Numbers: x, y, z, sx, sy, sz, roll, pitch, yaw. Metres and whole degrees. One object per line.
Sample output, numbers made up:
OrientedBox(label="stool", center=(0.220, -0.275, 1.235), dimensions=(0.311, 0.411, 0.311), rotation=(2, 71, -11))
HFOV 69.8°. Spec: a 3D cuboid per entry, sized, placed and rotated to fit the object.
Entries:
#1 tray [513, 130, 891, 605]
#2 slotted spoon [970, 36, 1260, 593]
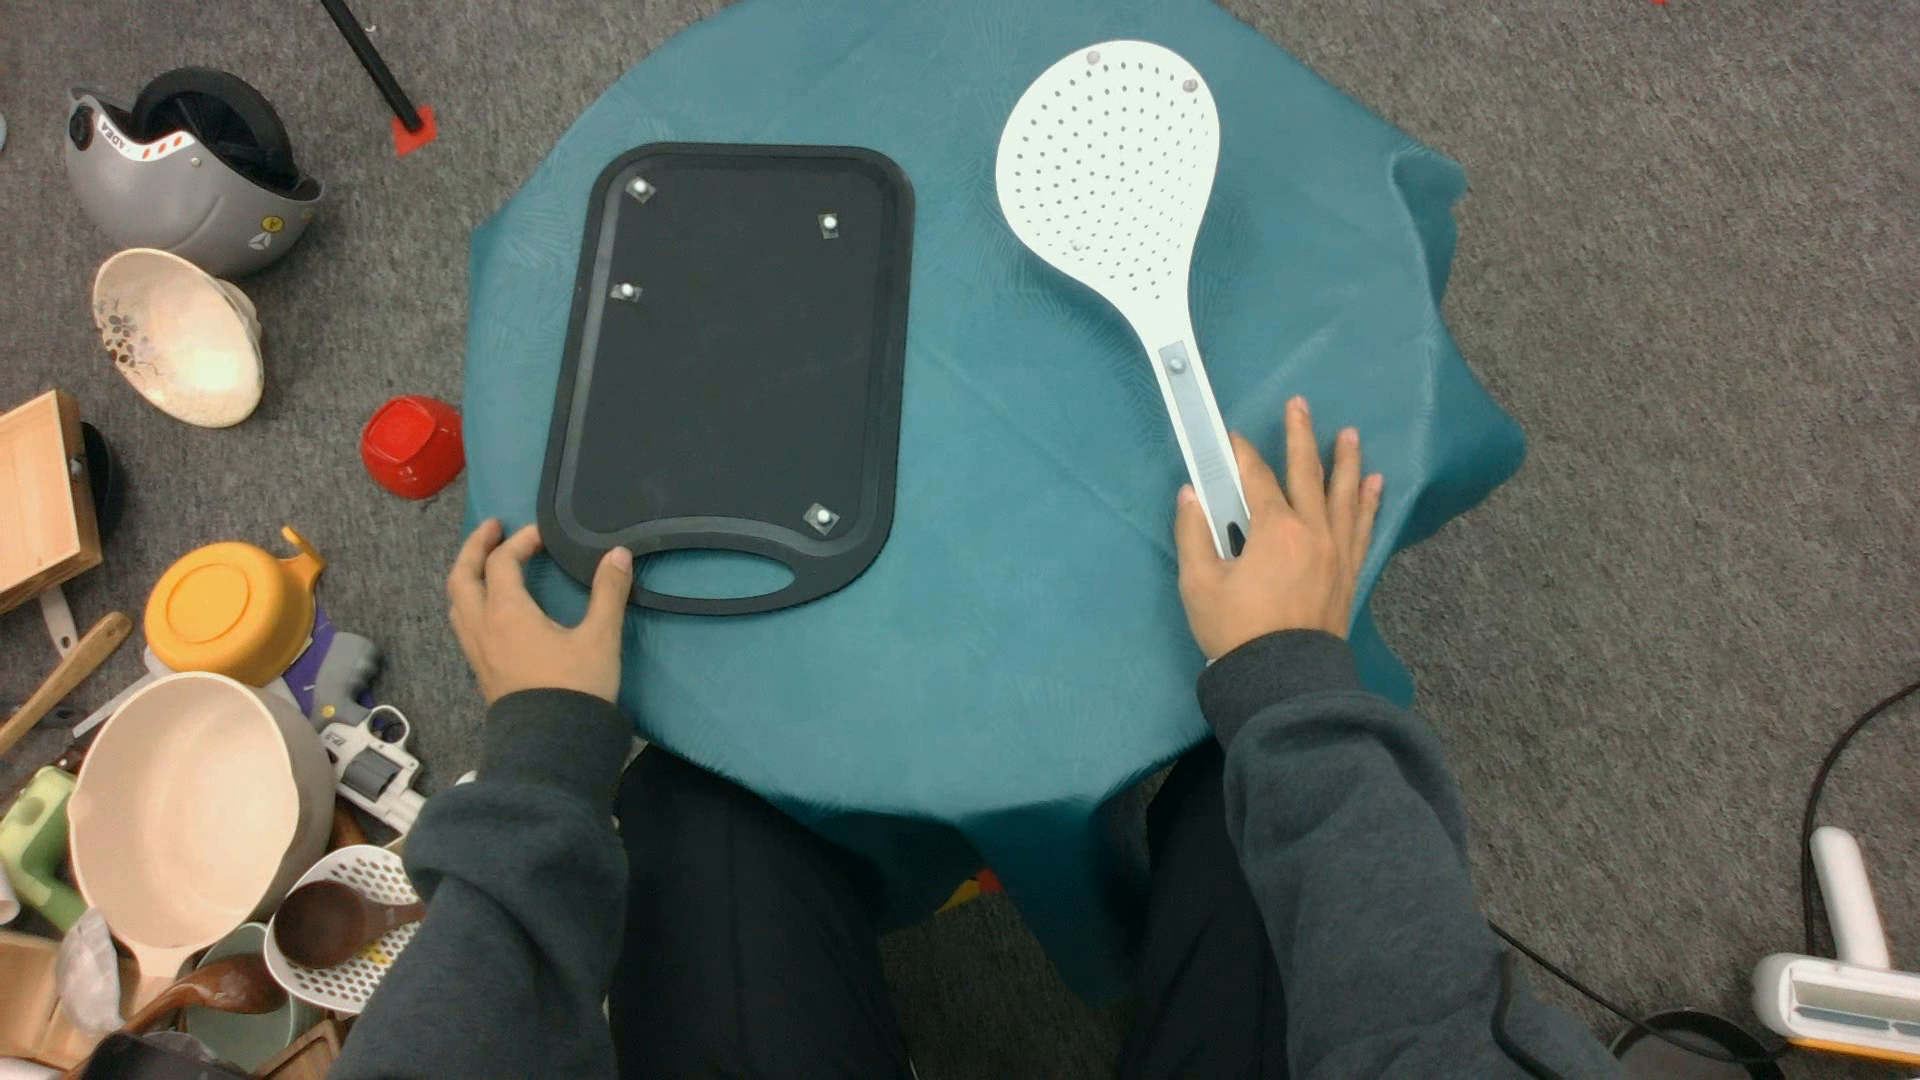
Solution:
OrientedBox(label="tray", center=(-0.152, -0.115, 0.838), dimensions=(0.211, 0.010, 0.326), rotation=(2, 69, 2))
OrientedBox(label="slotted spoon", center=(0.103, -0.135, 0.797), dimensions=(0.135, 0.046, 0.350), rotation=(-23, 69, 19))
